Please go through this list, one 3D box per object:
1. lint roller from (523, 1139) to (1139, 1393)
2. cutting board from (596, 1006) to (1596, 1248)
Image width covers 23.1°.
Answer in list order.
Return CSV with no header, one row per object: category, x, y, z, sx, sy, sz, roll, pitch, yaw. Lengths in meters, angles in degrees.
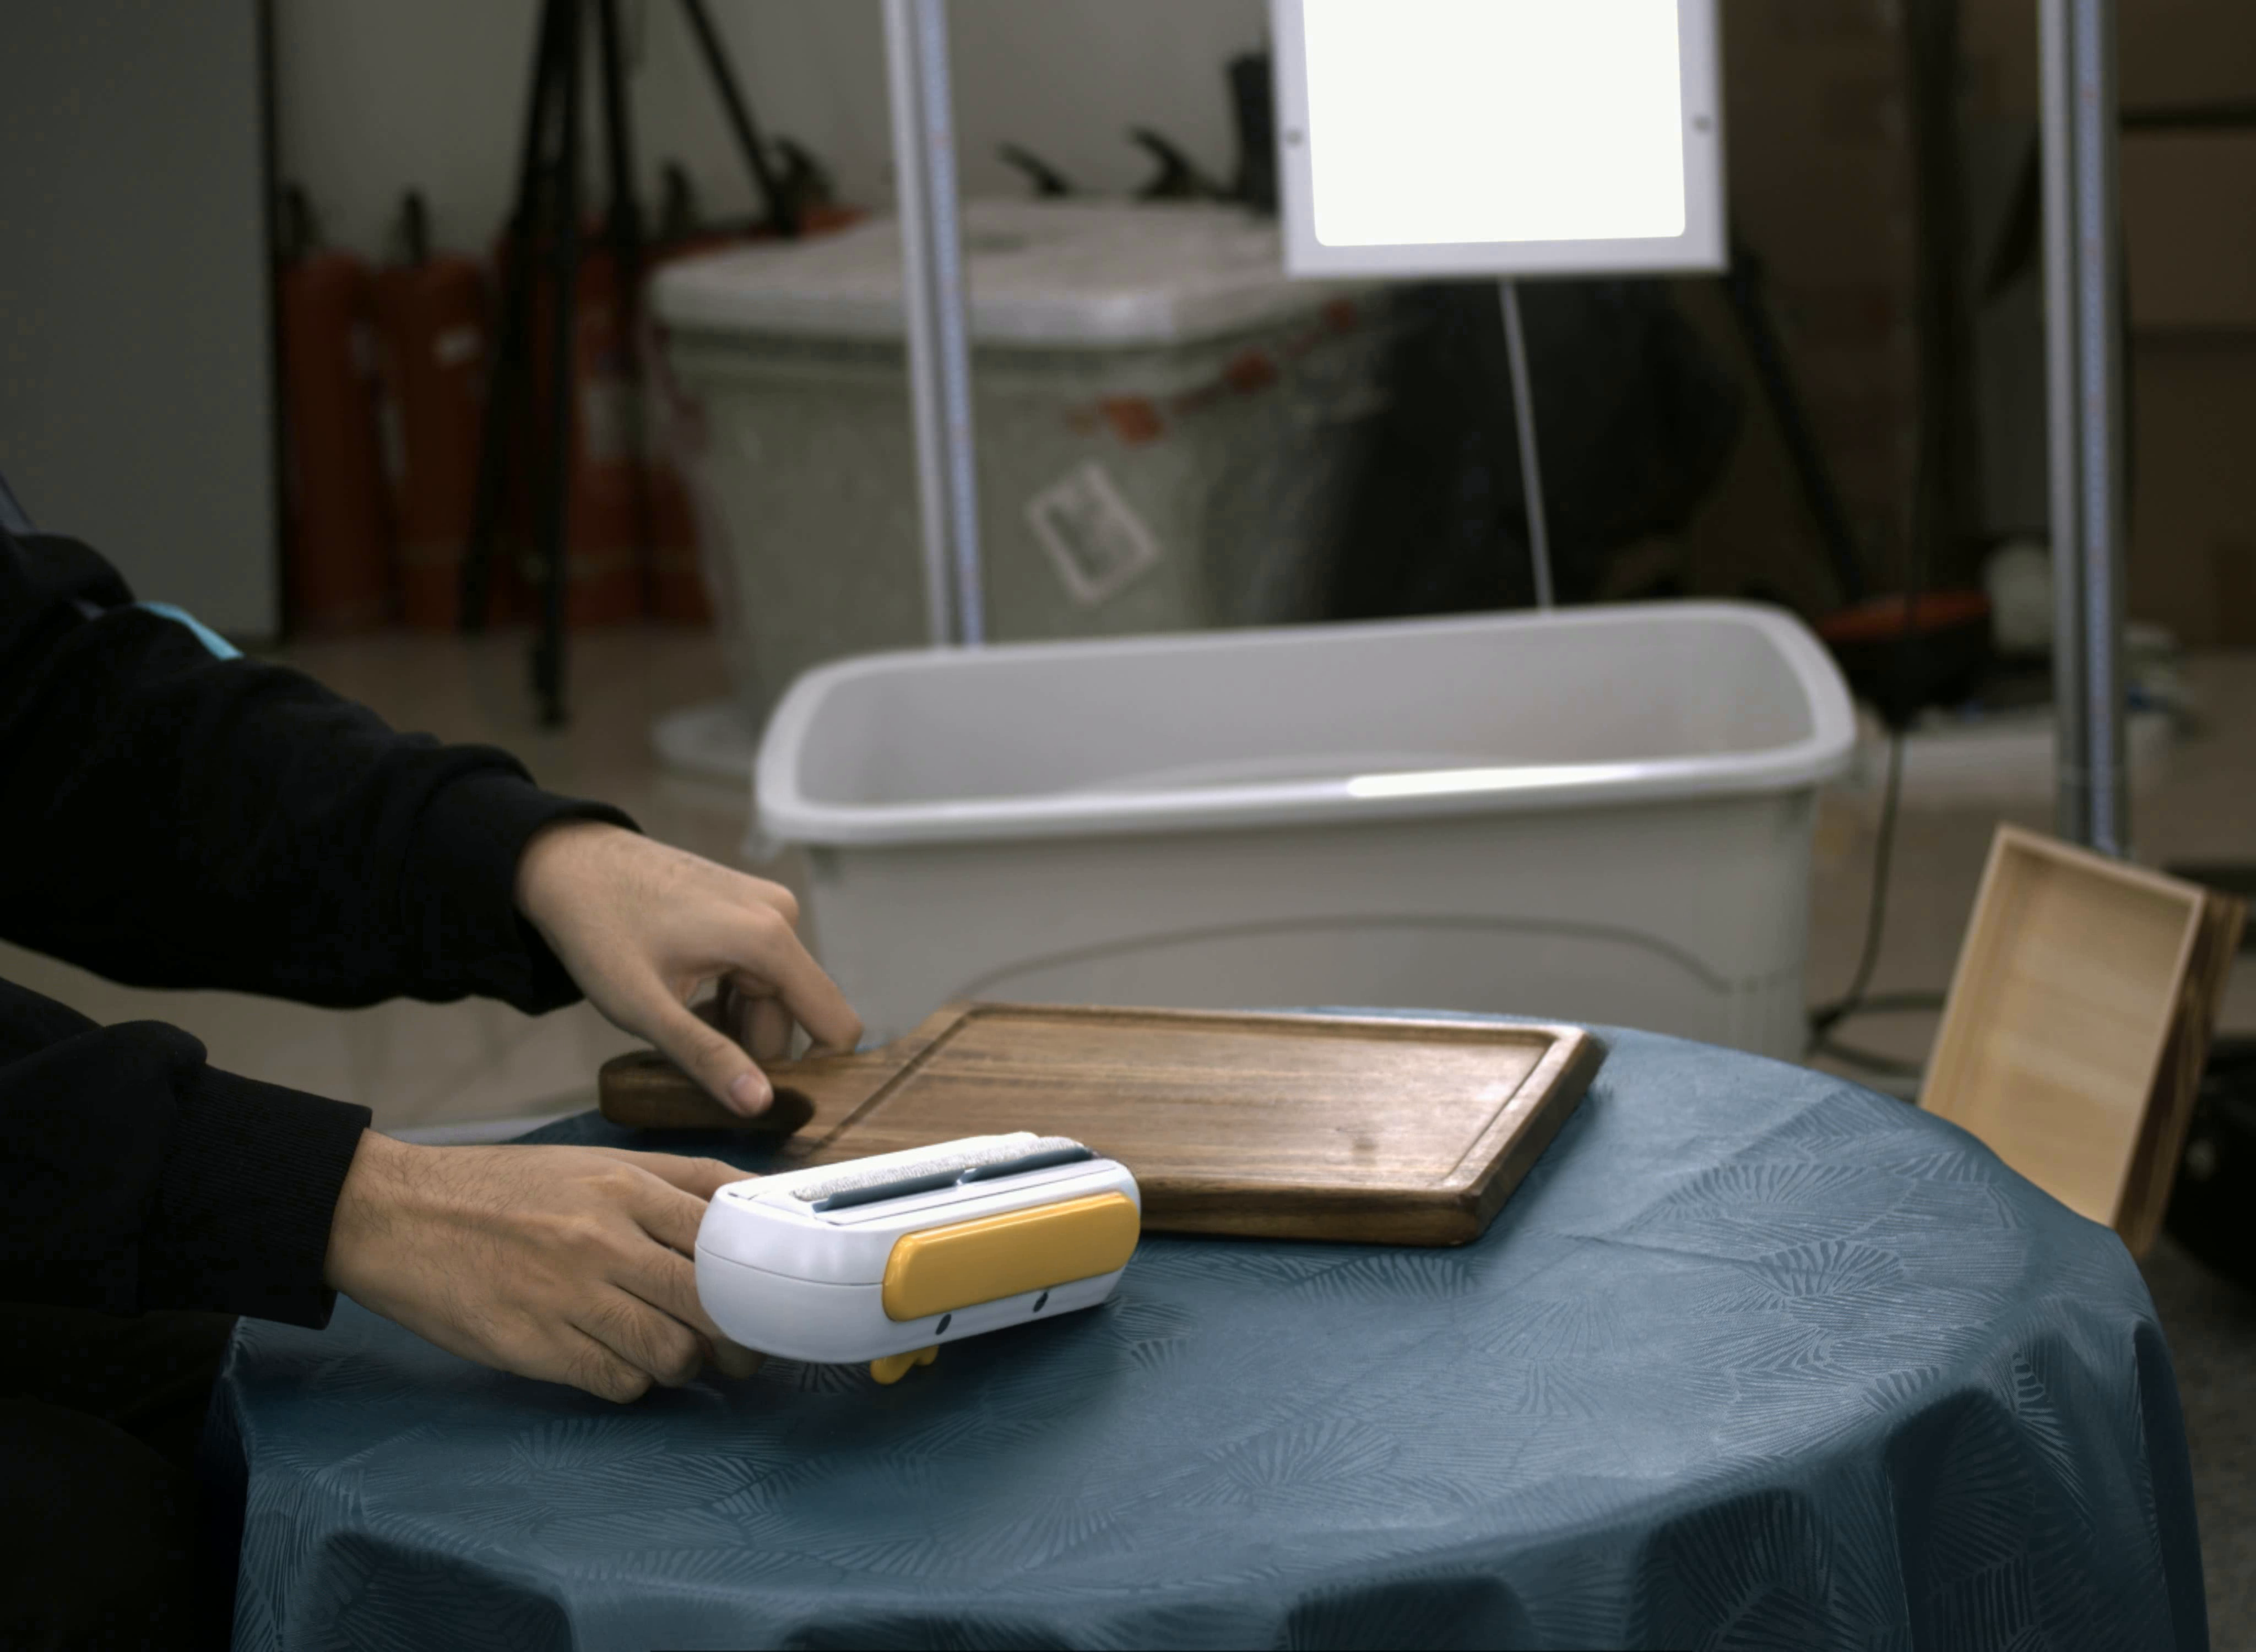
lint roller,-0.115,0.136,1.756,0.196,0.074,0.188,3,9,36
cutting board,-0.023,0.102,1.946,0.356,0.023,0.198,1,16,19
